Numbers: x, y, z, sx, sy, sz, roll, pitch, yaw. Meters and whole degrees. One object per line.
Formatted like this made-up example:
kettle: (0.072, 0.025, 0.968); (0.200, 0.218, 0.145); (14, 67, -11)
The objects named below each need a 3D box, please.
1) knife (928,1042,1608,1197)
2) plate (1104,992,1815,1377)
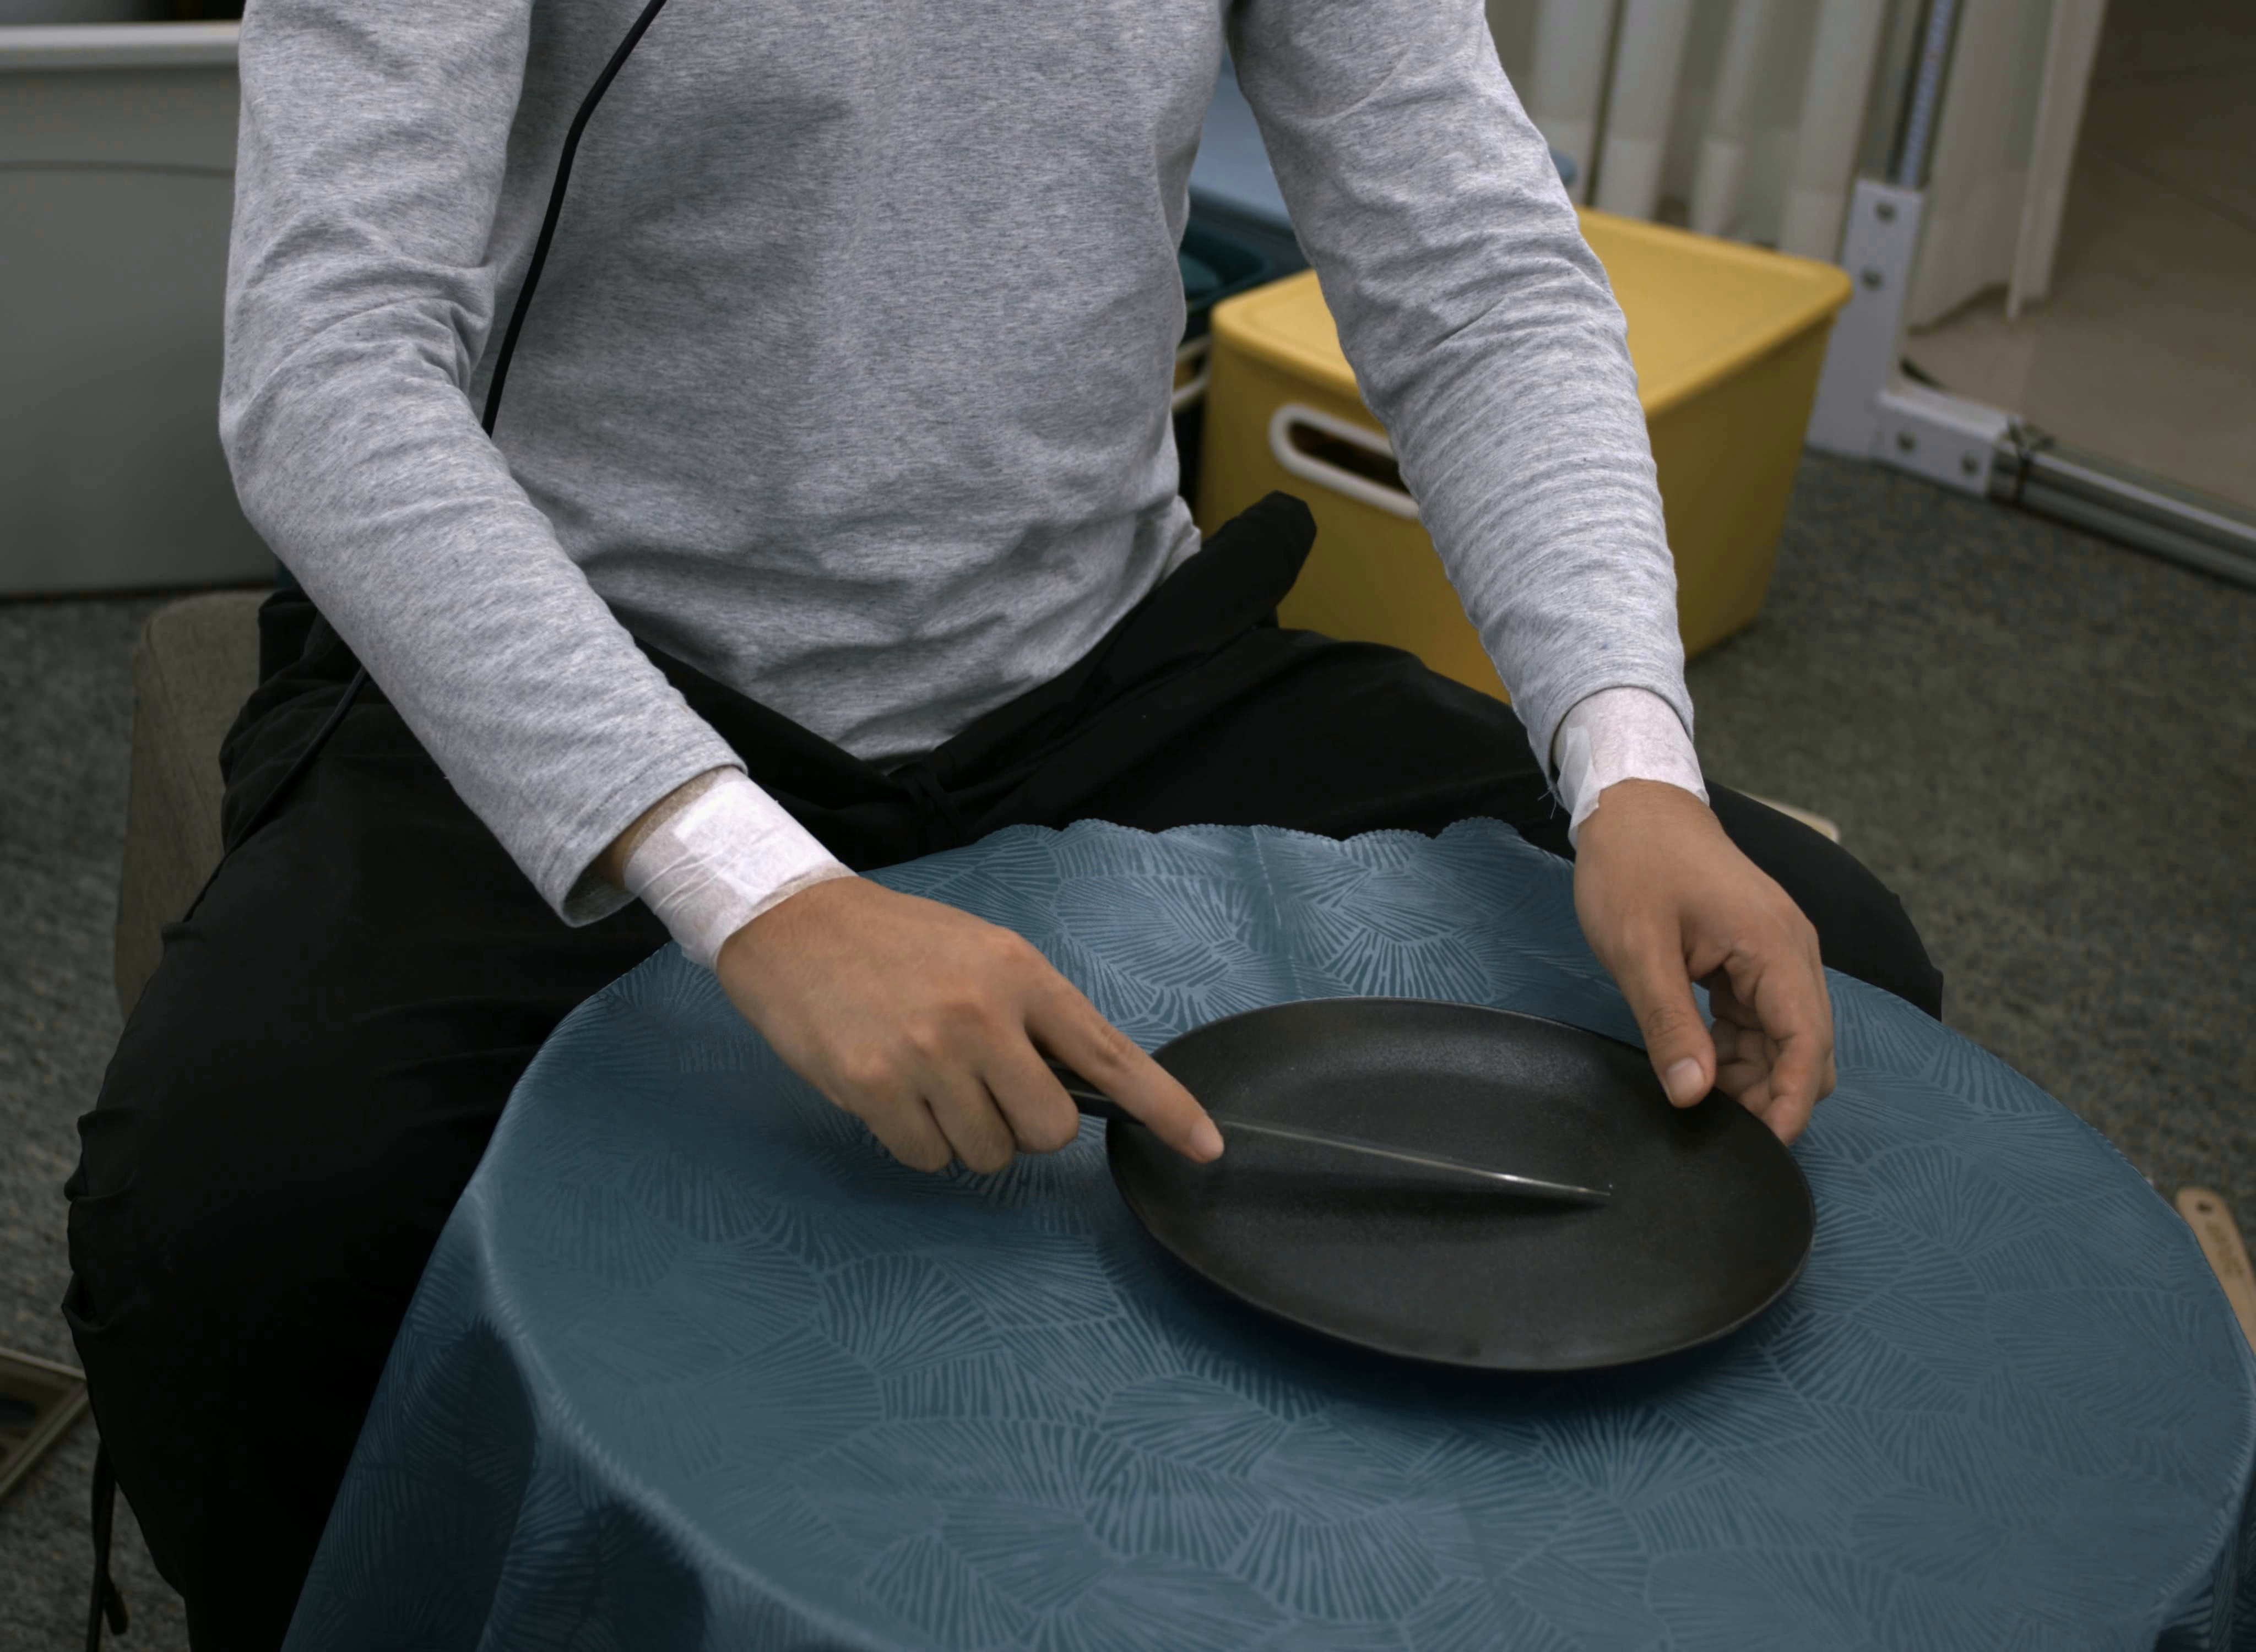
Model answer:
knife: (0.049, 0.103, 1.802); (0.237, 0.016, 0.024); (12, 8, -6)
plate: (0.111, 0.125, 1.802); (0.243, 0.023, 0.246); (5, 27, -3)
